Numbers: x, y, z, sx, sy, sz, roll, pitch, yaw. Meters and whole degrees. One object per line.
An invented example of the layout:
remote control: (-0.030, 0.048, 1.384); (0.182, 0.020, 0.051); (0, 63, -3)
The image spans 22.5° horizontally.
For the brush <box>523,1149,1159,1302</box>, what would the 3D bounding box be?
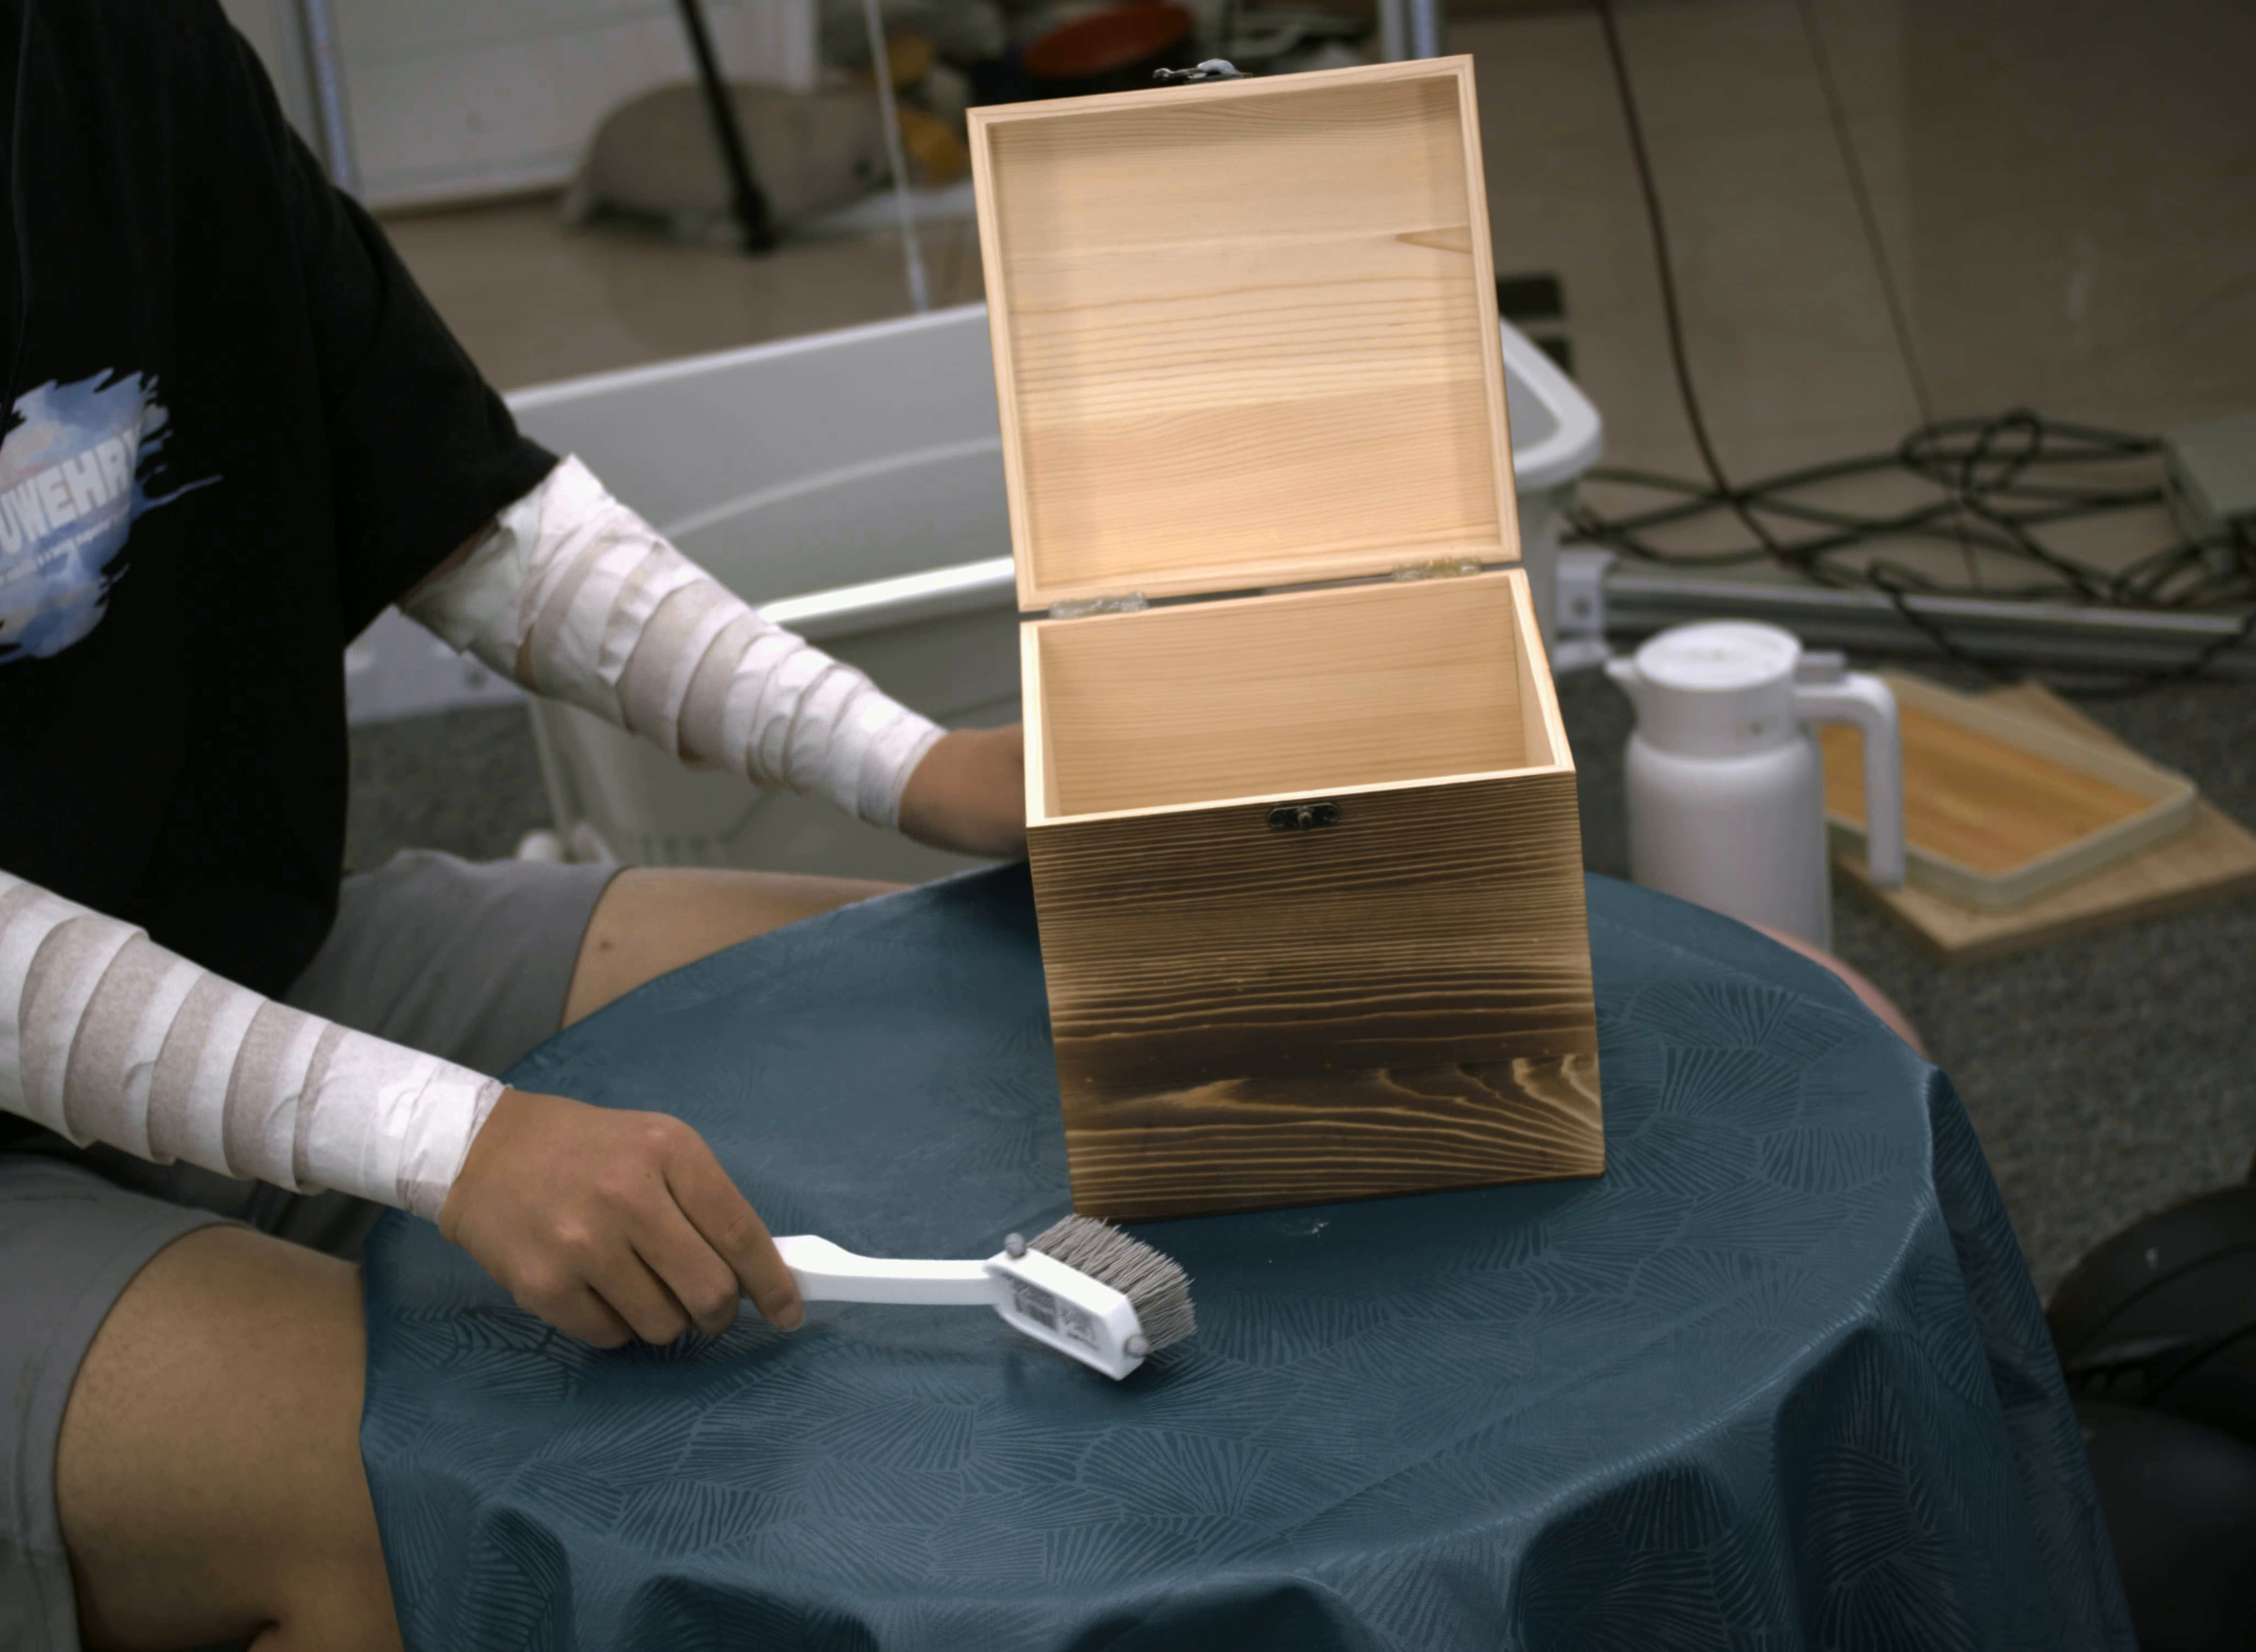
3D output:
brush: (-0.105, 0.143, 2.051); (0.243, 0.035, 0.049); (-1, 46, 24)

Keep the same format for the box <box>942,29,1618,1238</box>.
box: (0.054, -0.084, 2.176); (0.208, 0.381, 0.317); (-7, 26, 2)
